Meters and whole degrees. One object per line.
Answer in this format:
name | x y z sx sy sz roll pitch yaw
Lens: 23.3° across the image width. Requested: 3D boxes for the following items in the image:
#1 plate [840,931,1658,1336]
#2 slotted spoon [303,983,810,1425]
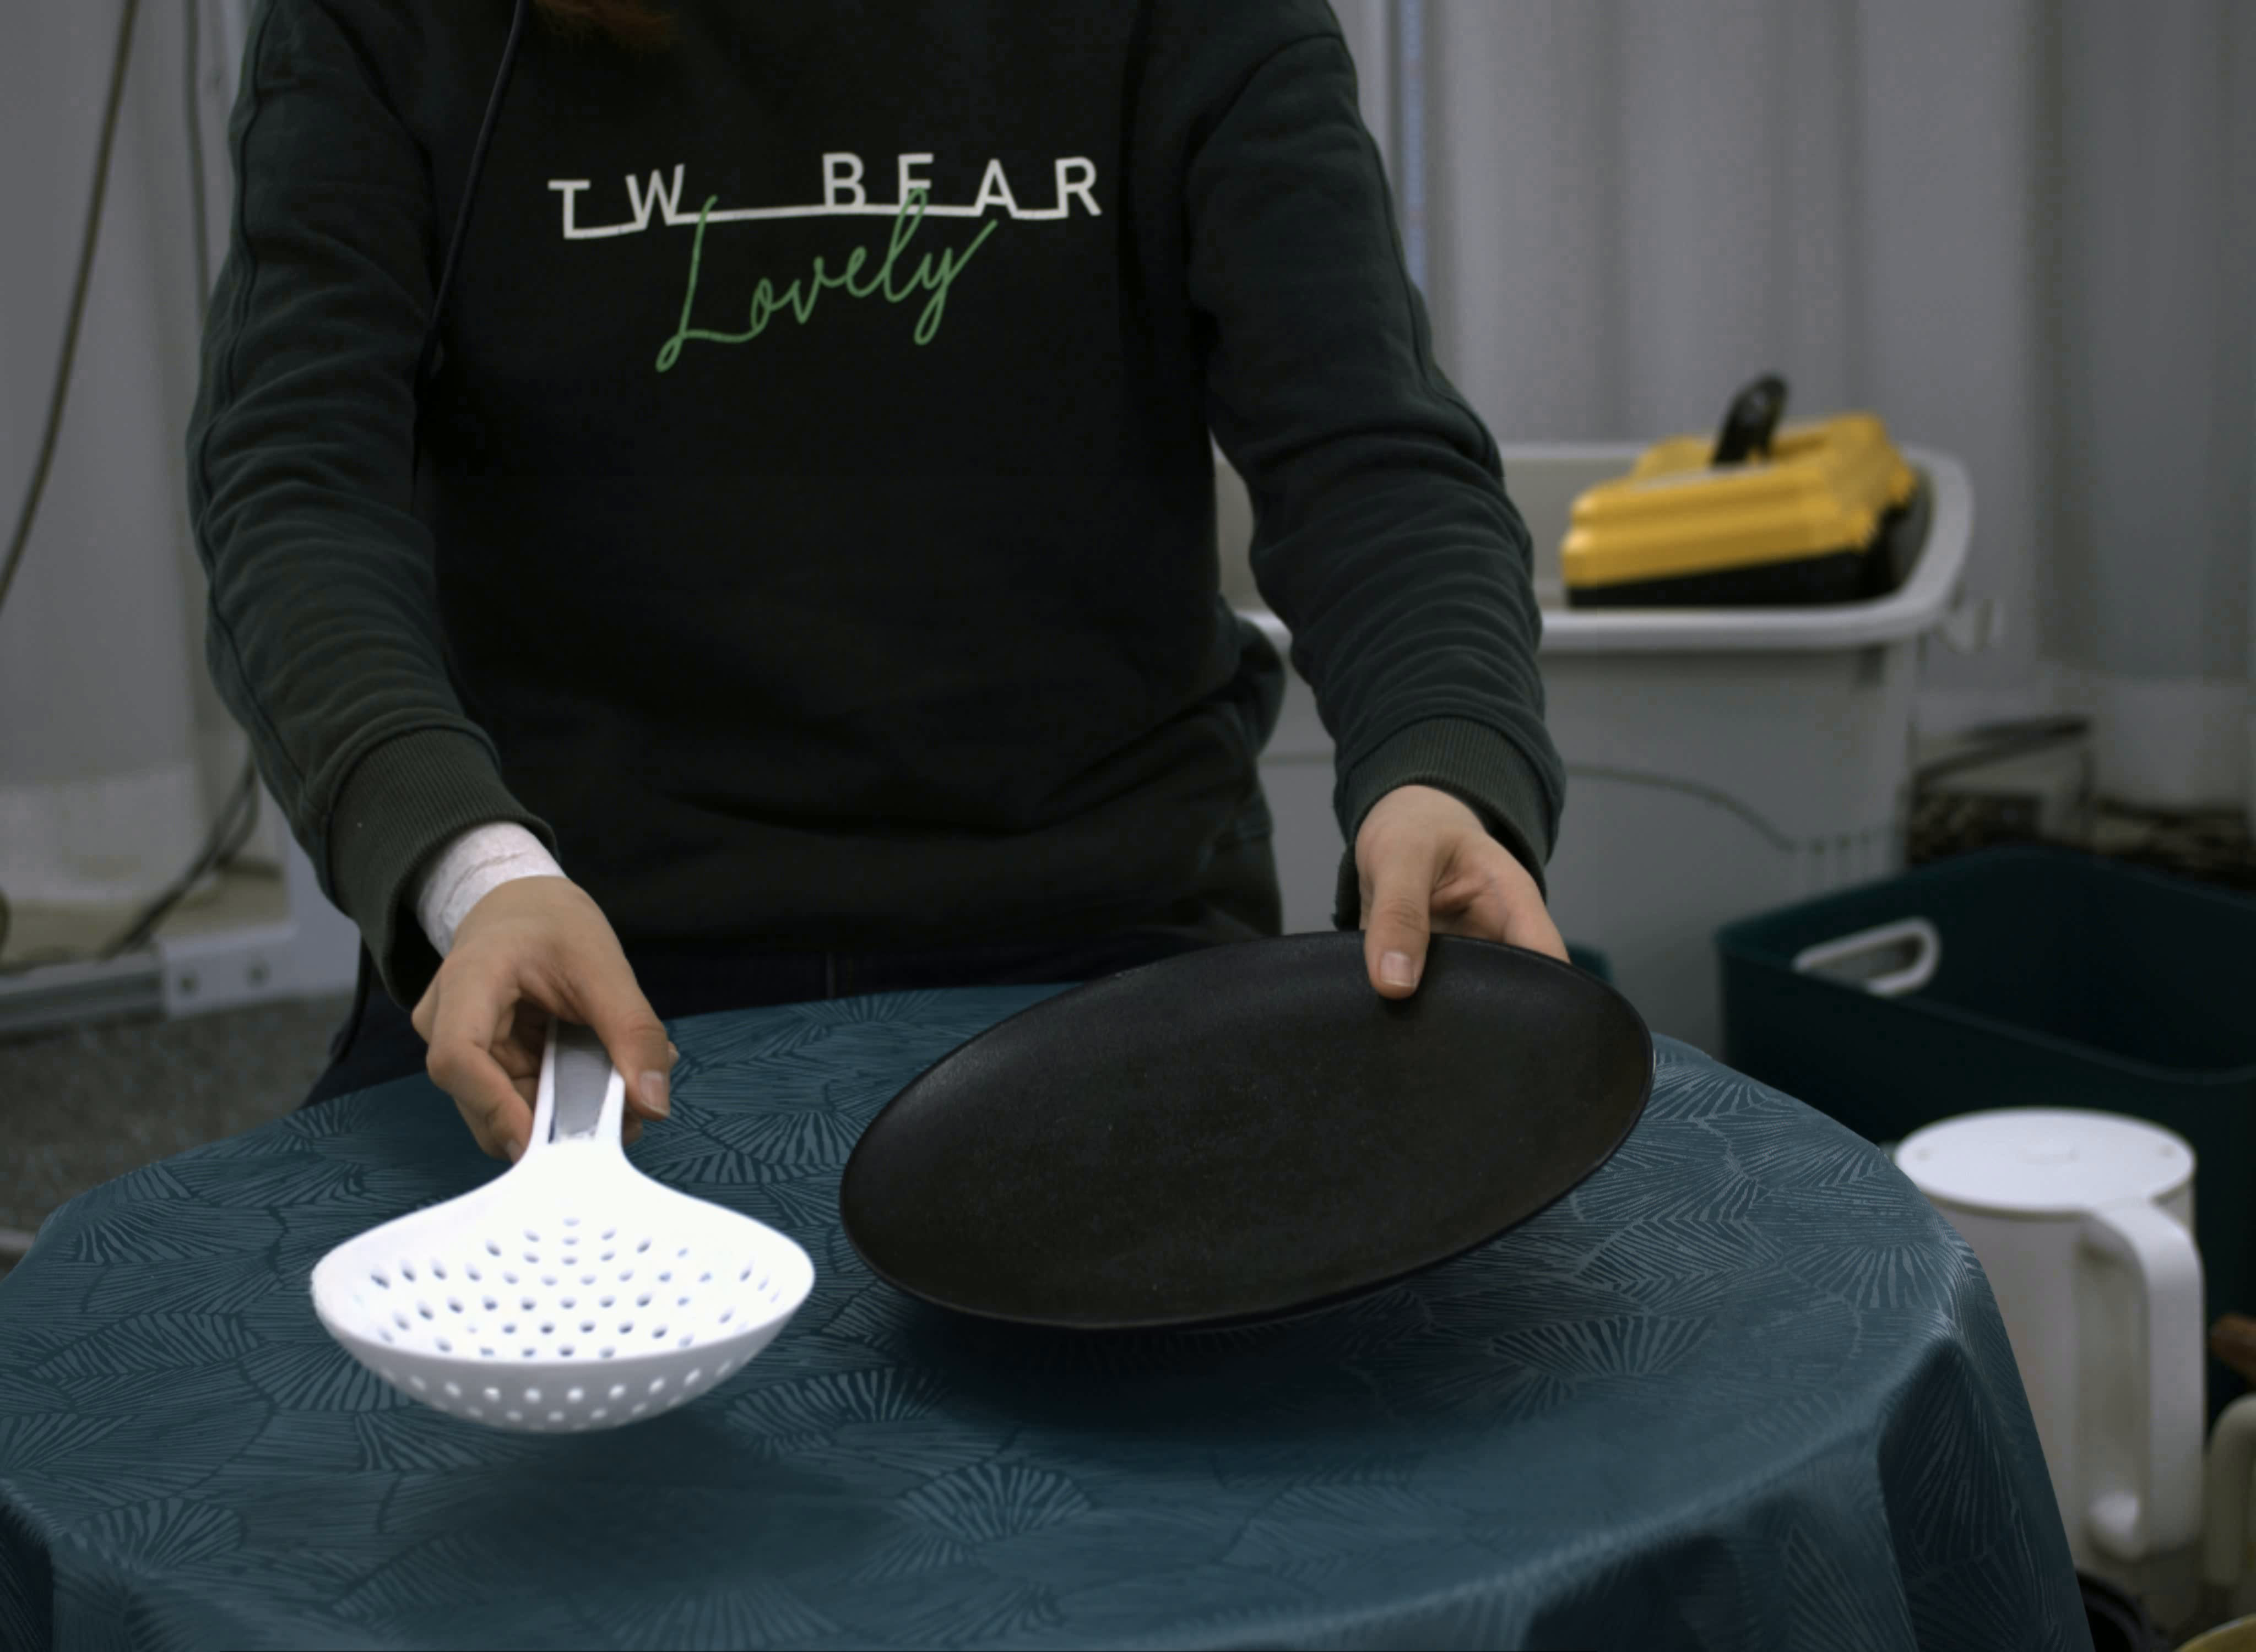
plate | 0.036 0.093 1.602 0.243 0.023 0.247 -10 23 4
slotted spoon | -0.160 0.100 1.574 0.135 0.045 0.353 0 19 -4
